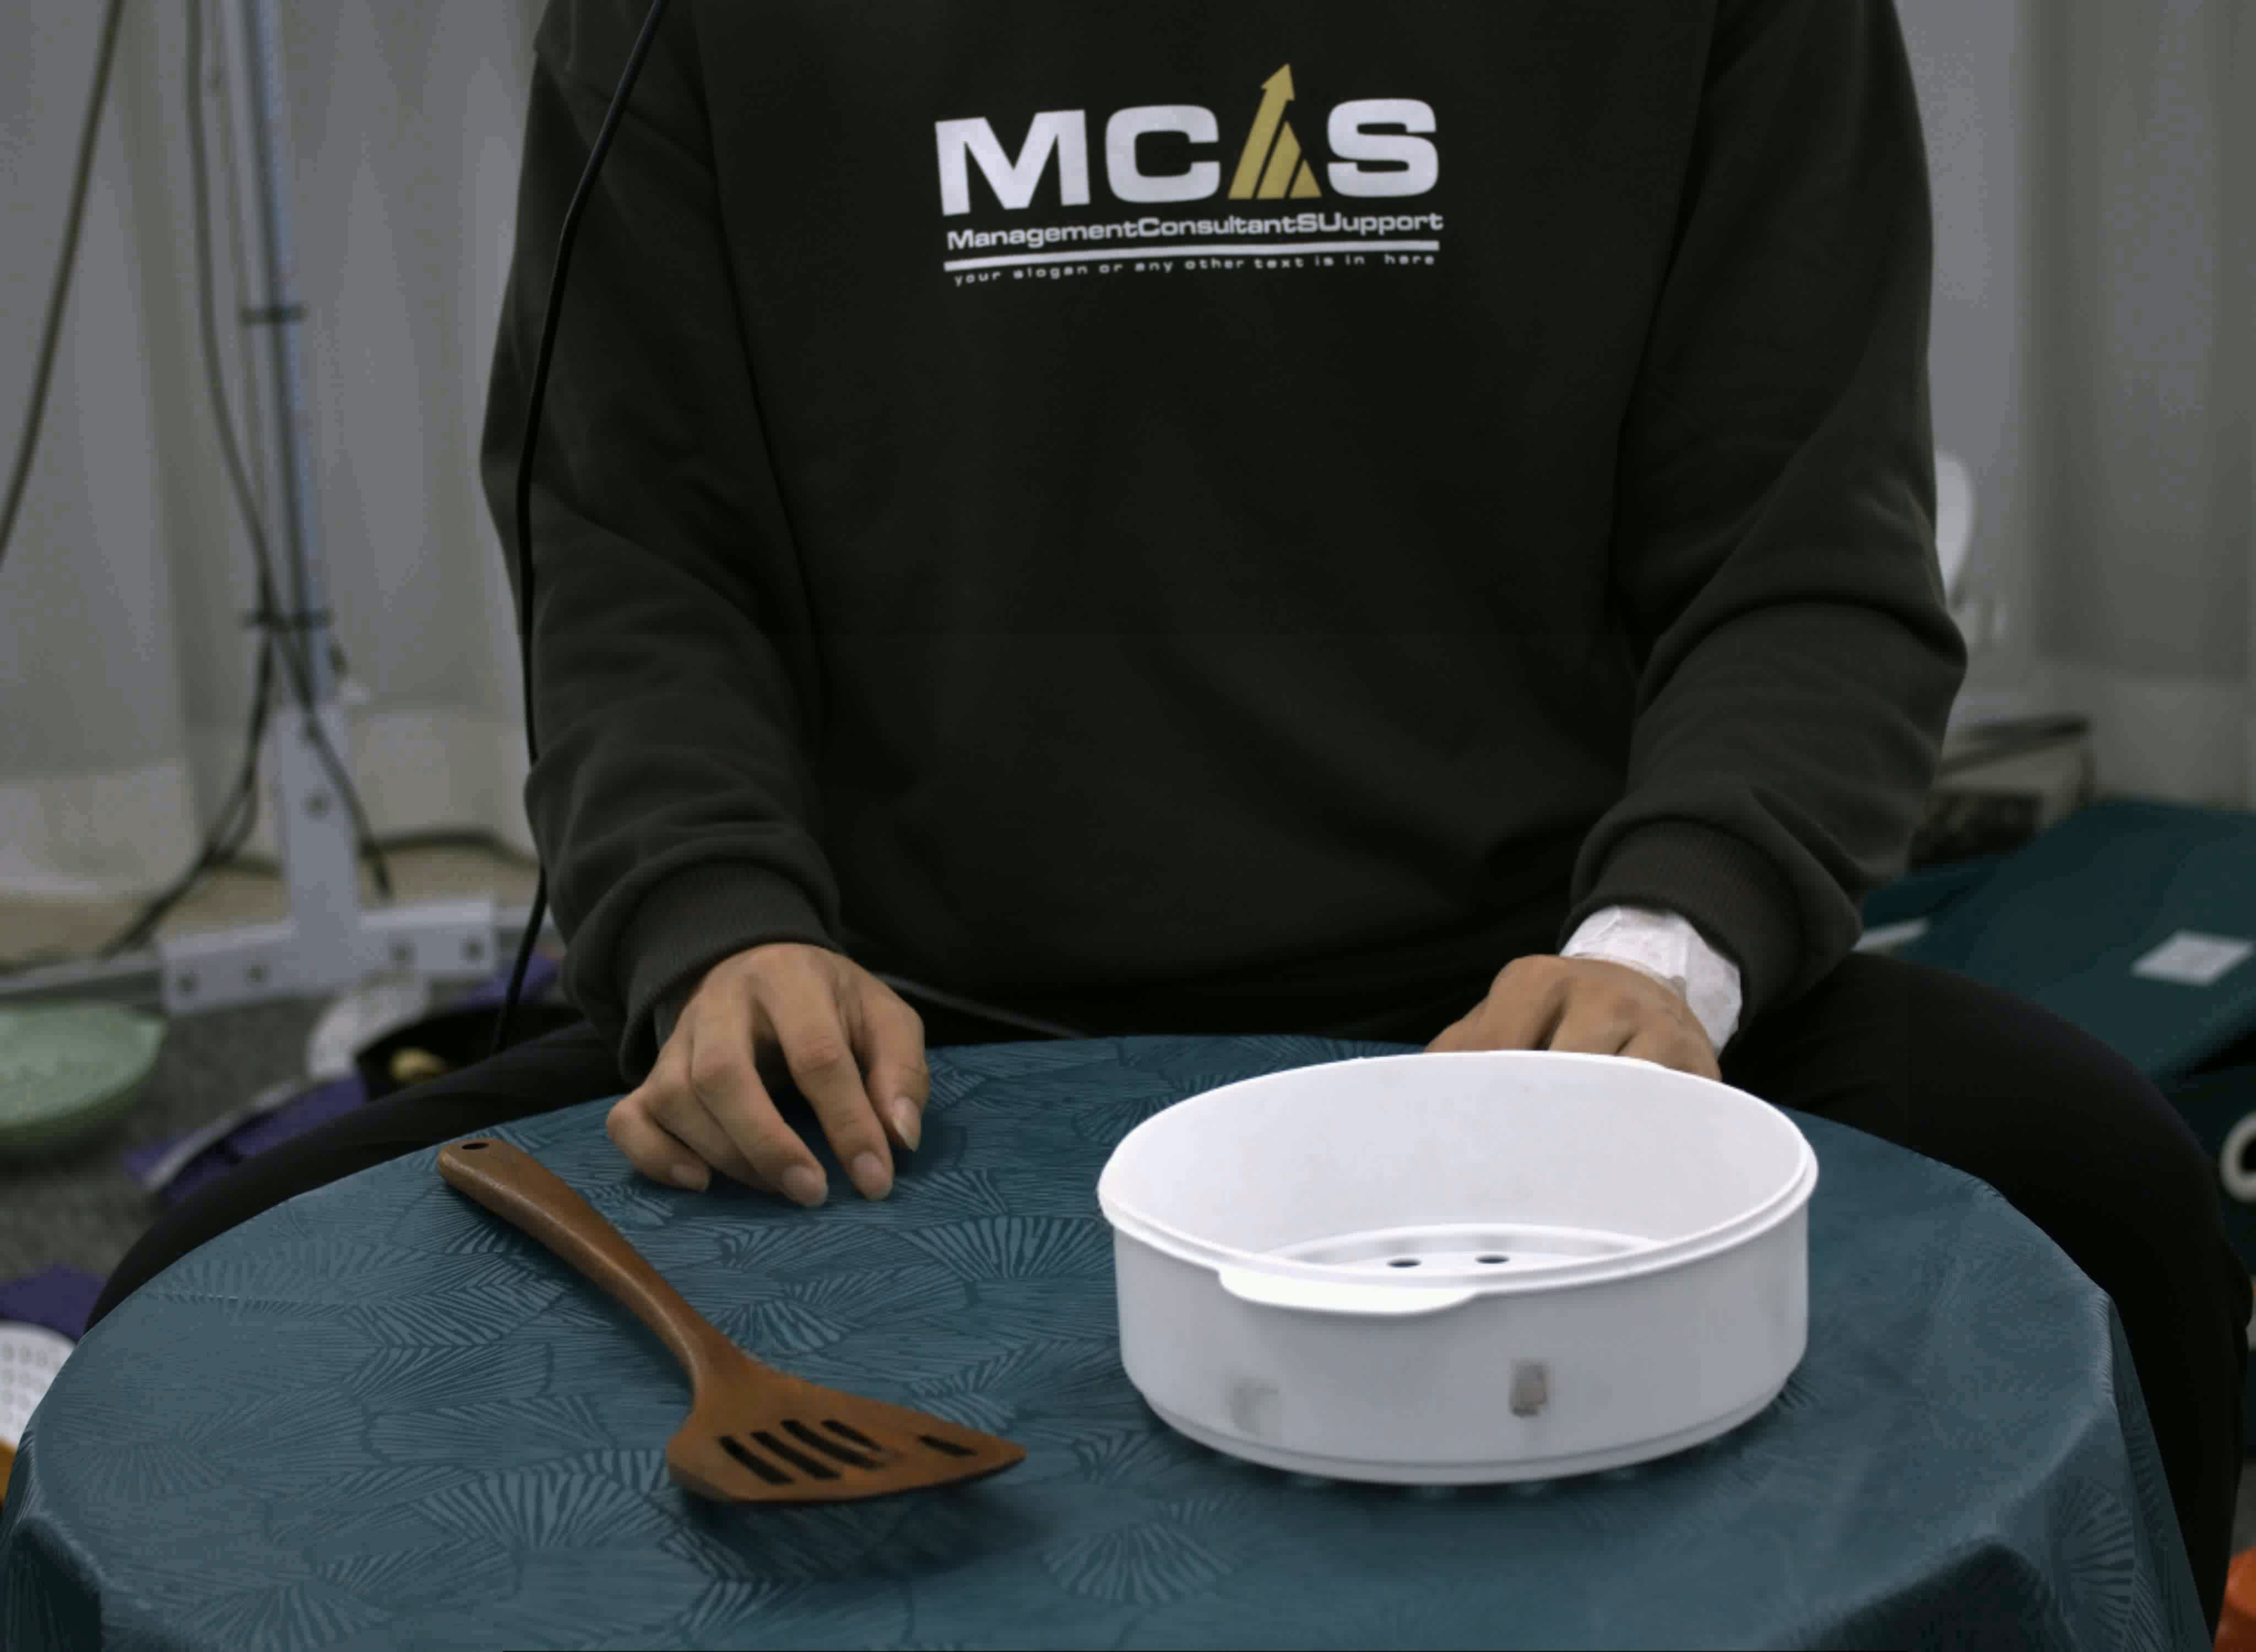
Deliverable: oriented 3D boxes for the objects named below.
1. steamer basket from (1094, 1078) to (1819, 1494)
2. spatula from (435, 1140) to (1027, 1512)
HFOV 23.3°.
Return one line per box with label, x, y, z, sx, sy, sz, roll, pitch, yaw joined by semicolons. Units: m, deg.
steamer basket;0.091;0.128;1.529;0.202;0.069;0.231;5;13;21
spatula;-0.138;0.144;1.593;0.085;0.023;0.388;-7;14;-23
